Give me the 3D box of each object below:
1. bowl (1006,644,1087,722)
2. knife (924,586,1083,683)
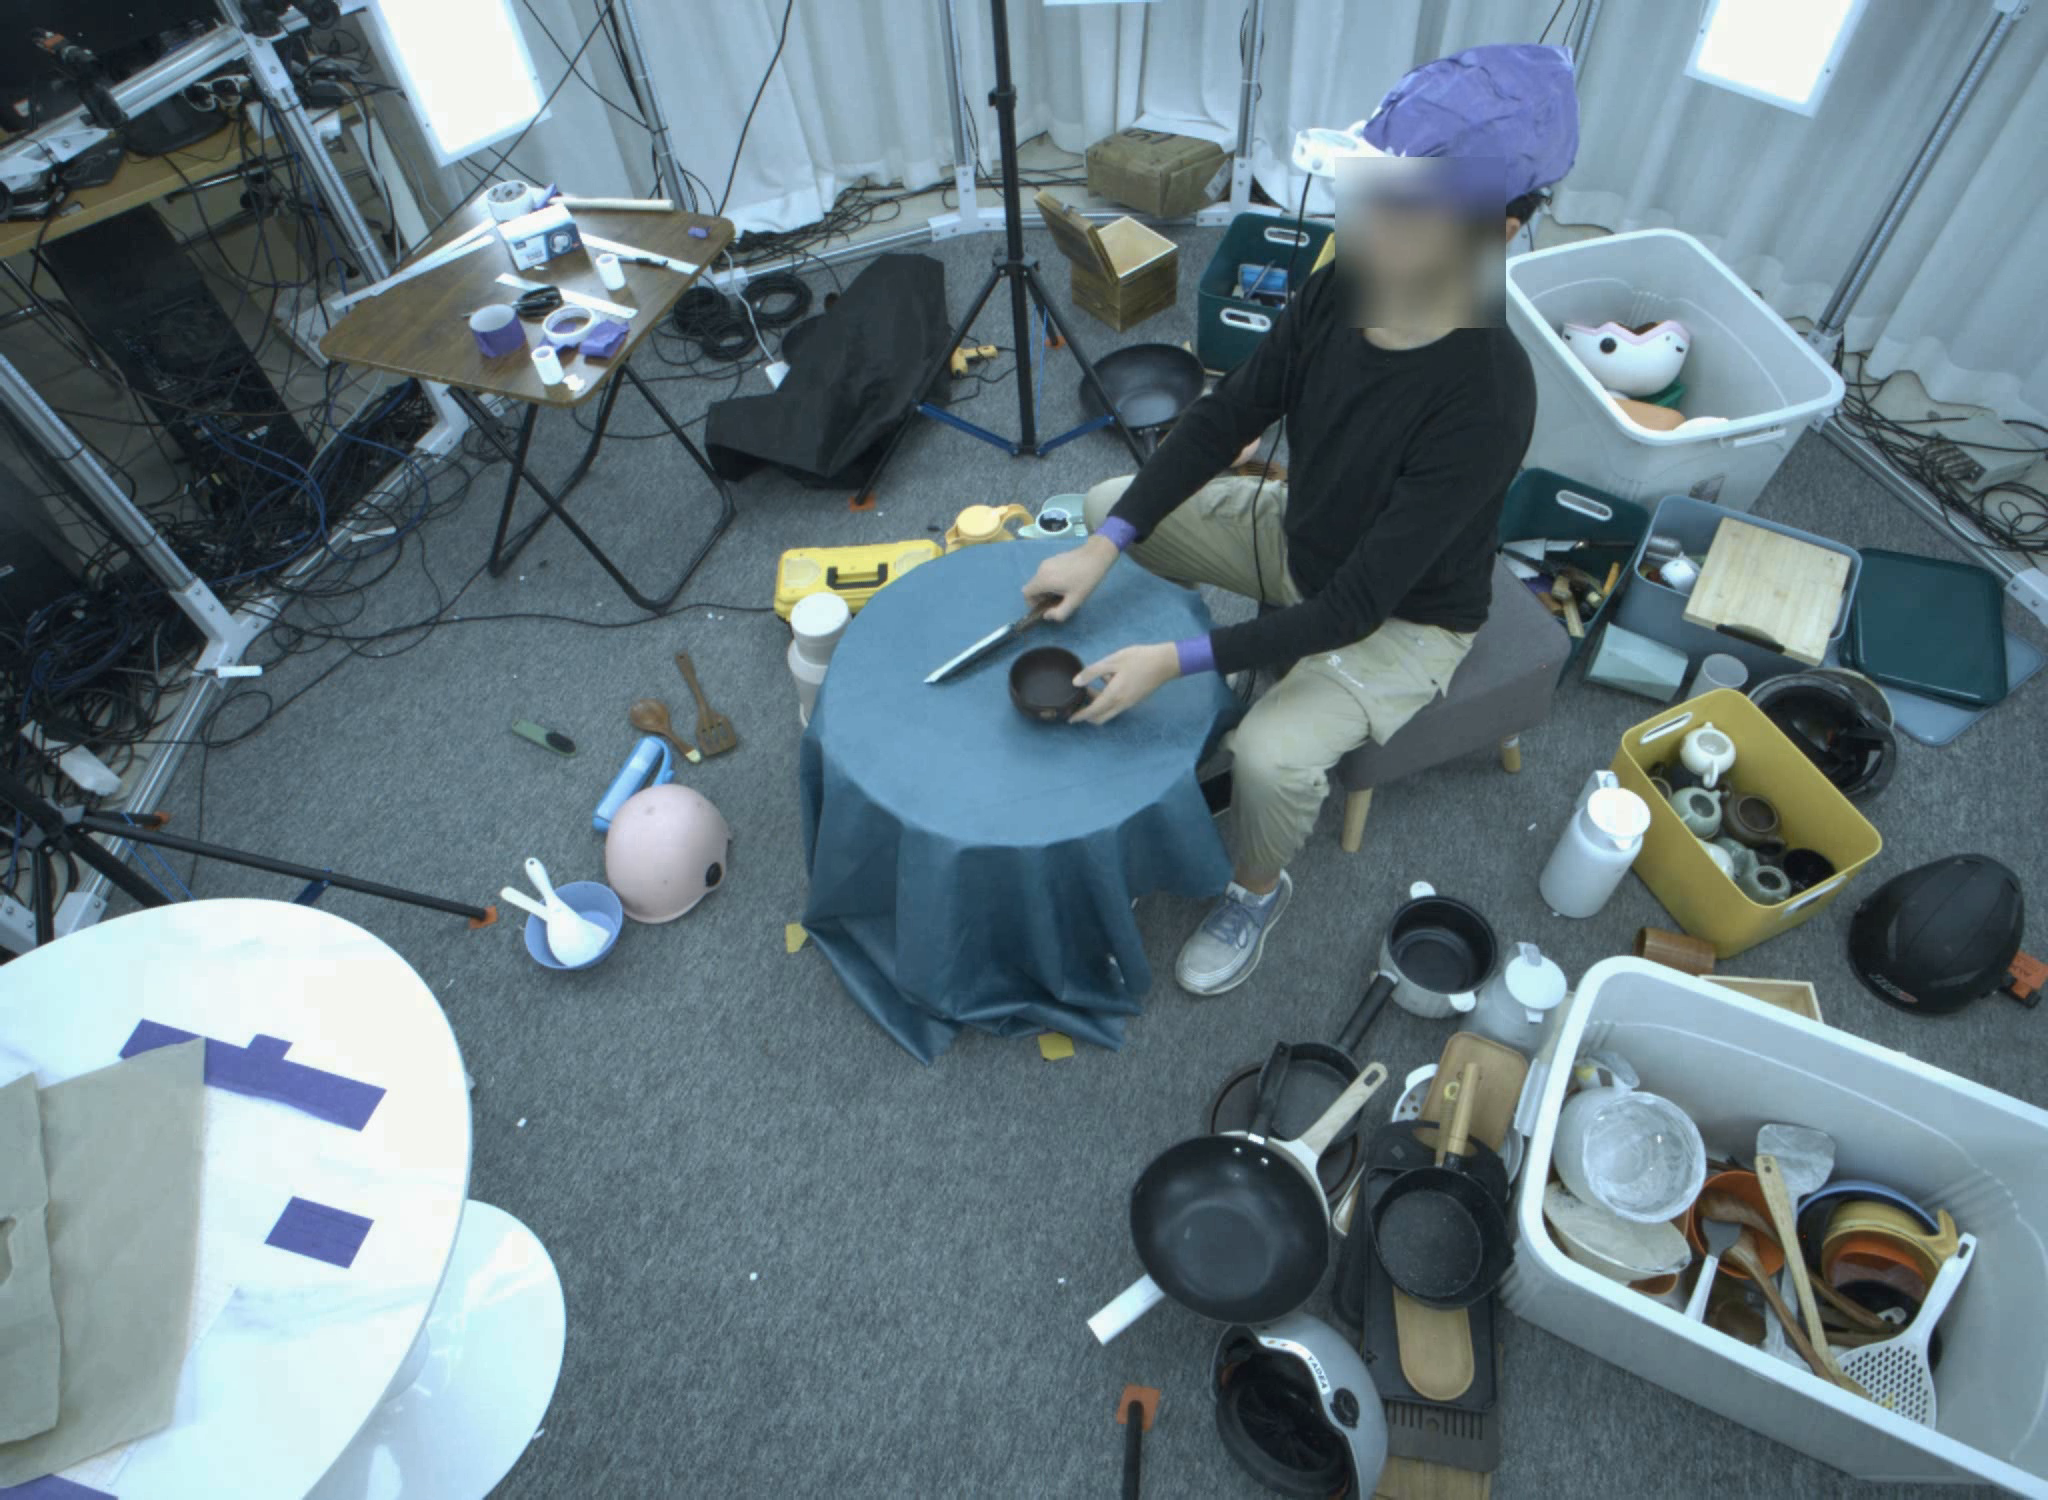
[{"bbox_3d":[0.034,-0.090,1.802,0.118,0.070,0.117,0,54,1],"label":"bowl"},{"bbox_3d":[-0.032,-0.176,1.889,0.291,0.020,0.049,-32,30,-13],"label":"knife"}]
